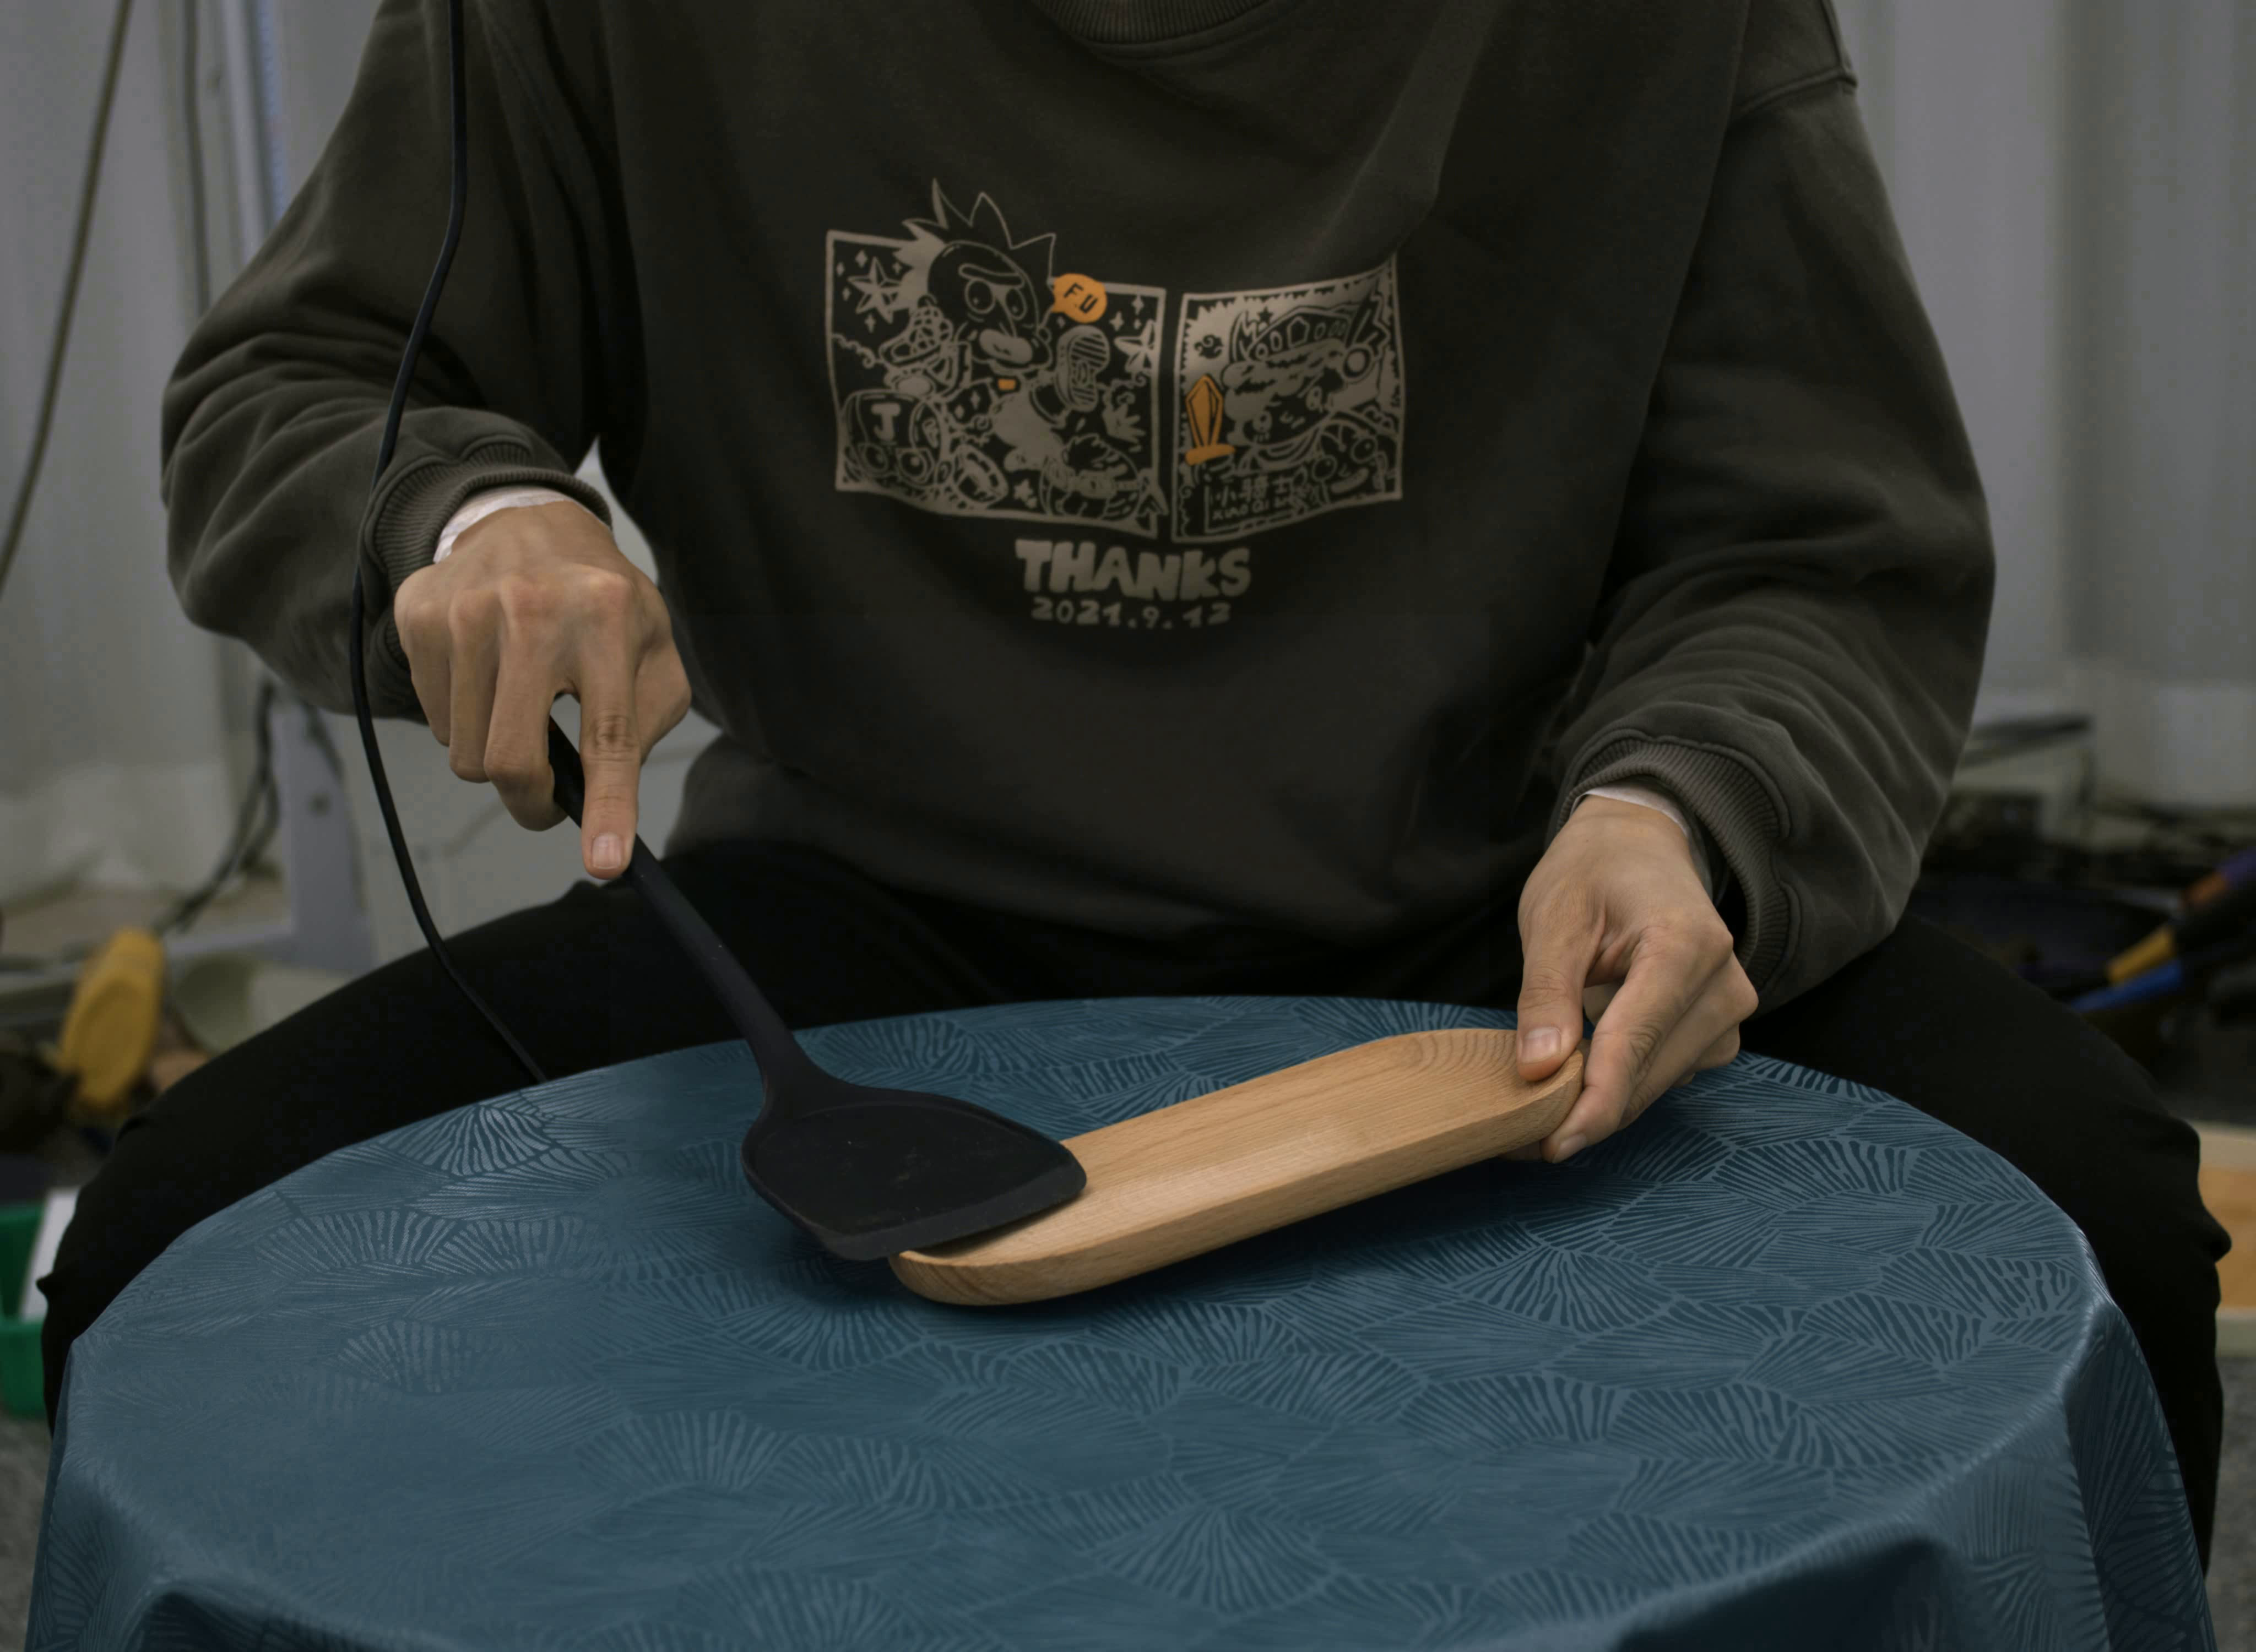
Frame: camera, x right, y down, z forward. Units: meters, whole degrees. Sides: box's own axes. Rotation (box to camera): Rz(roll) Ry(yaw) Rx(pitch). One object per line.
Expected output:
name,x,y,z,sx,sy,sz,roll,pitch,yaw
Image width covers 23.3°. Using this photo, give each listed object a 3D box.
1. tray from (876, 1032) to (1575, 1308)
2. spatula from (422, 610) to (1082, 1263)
tray,0.032,0.105,1.676,0.230,0.020,0.102,-18,15,-22
spatula,-0.140,0.028,1.744,0.099,0.040,0.330,-13,50,-36
